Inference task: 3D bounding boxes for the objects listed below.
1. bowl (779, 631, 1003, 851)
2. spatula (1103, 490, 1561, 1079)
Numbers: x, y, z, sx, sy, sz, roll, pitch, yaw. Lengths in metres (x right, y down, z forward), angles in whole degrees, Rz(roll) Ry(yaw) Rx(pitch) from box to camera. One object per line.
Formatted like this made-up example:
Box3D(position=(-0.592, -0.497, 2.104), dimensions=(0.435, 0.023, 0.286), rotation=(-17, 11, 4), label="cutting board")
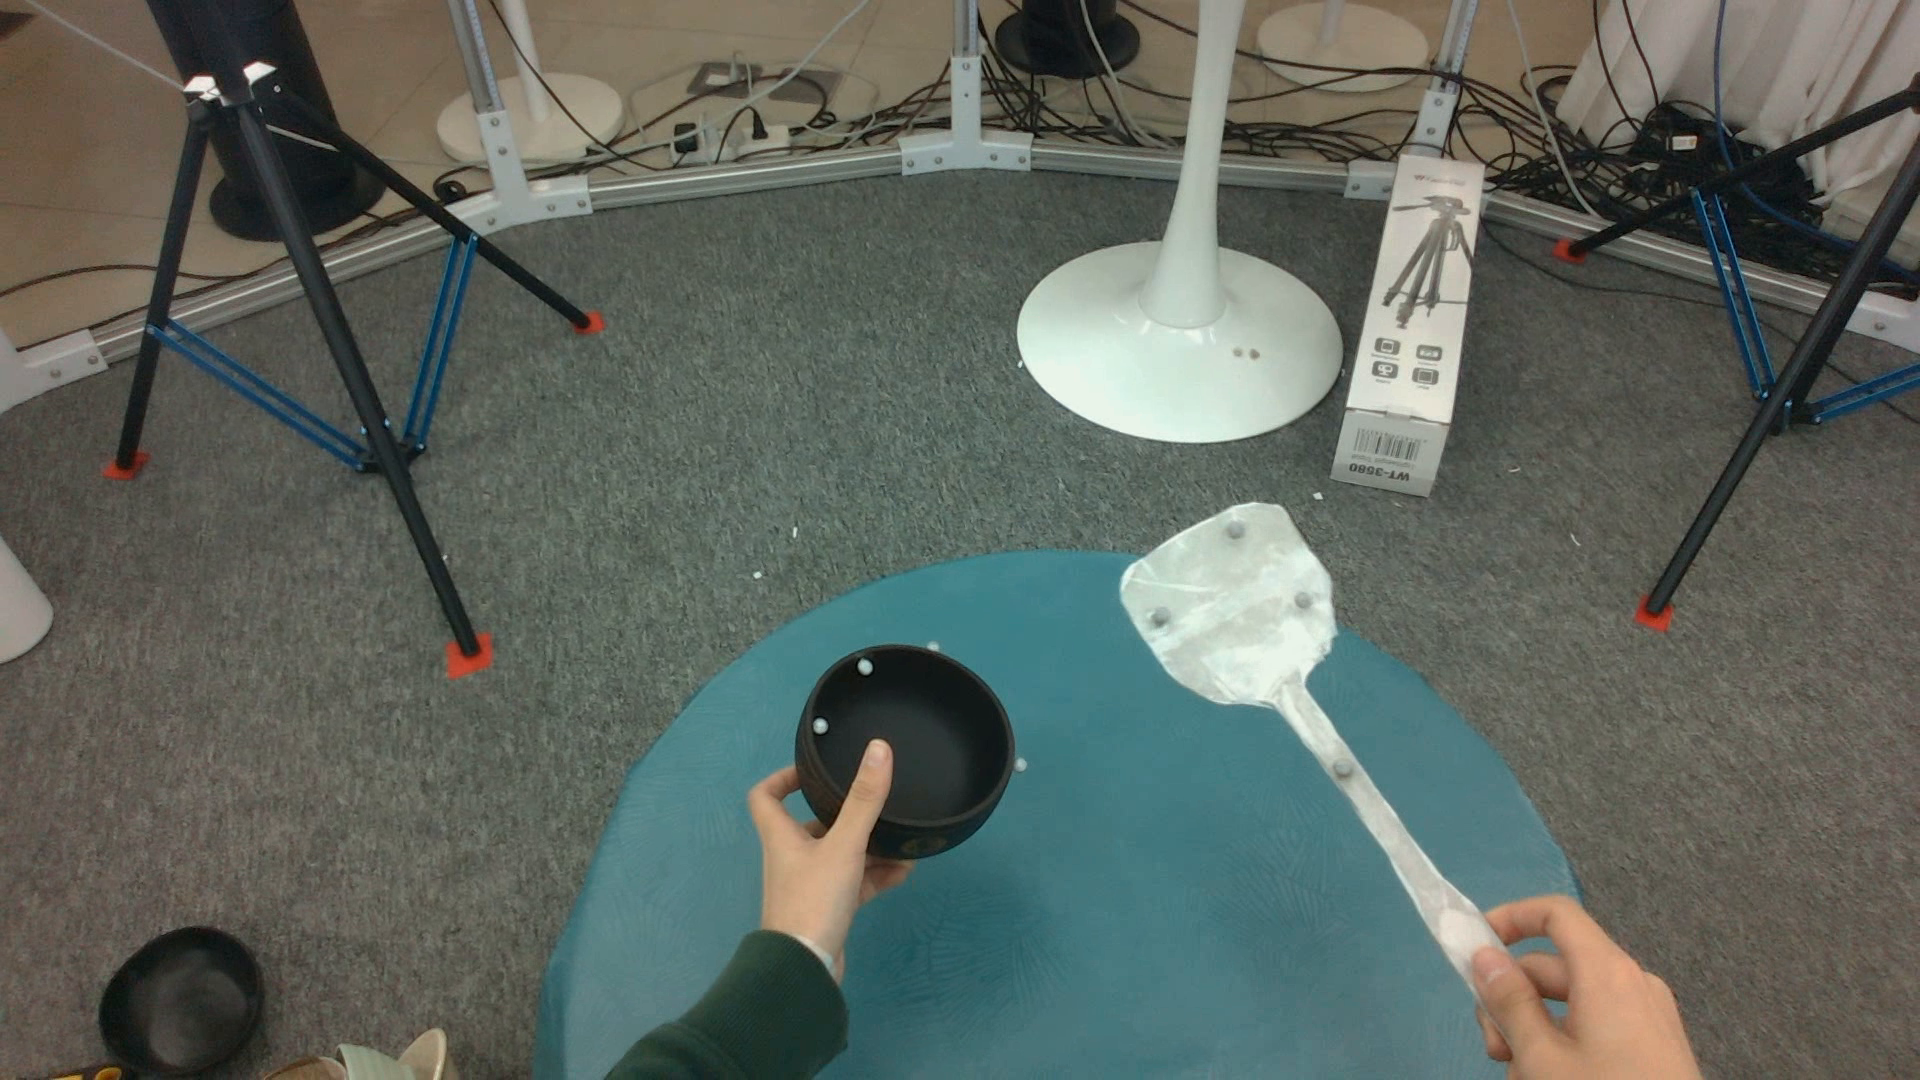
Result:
Box3D(position=(-0.041, 0.115, 0.750), dimensions=(0.118, 0.069, 0.118), rotation=(10, 50, -12), label="bowl")
Box3D(position=(0.173, 0.112, 0.614), dimensions=(0.099, 0.044, 0.366), rotation=(-26, 44, 0), label="spatula")
